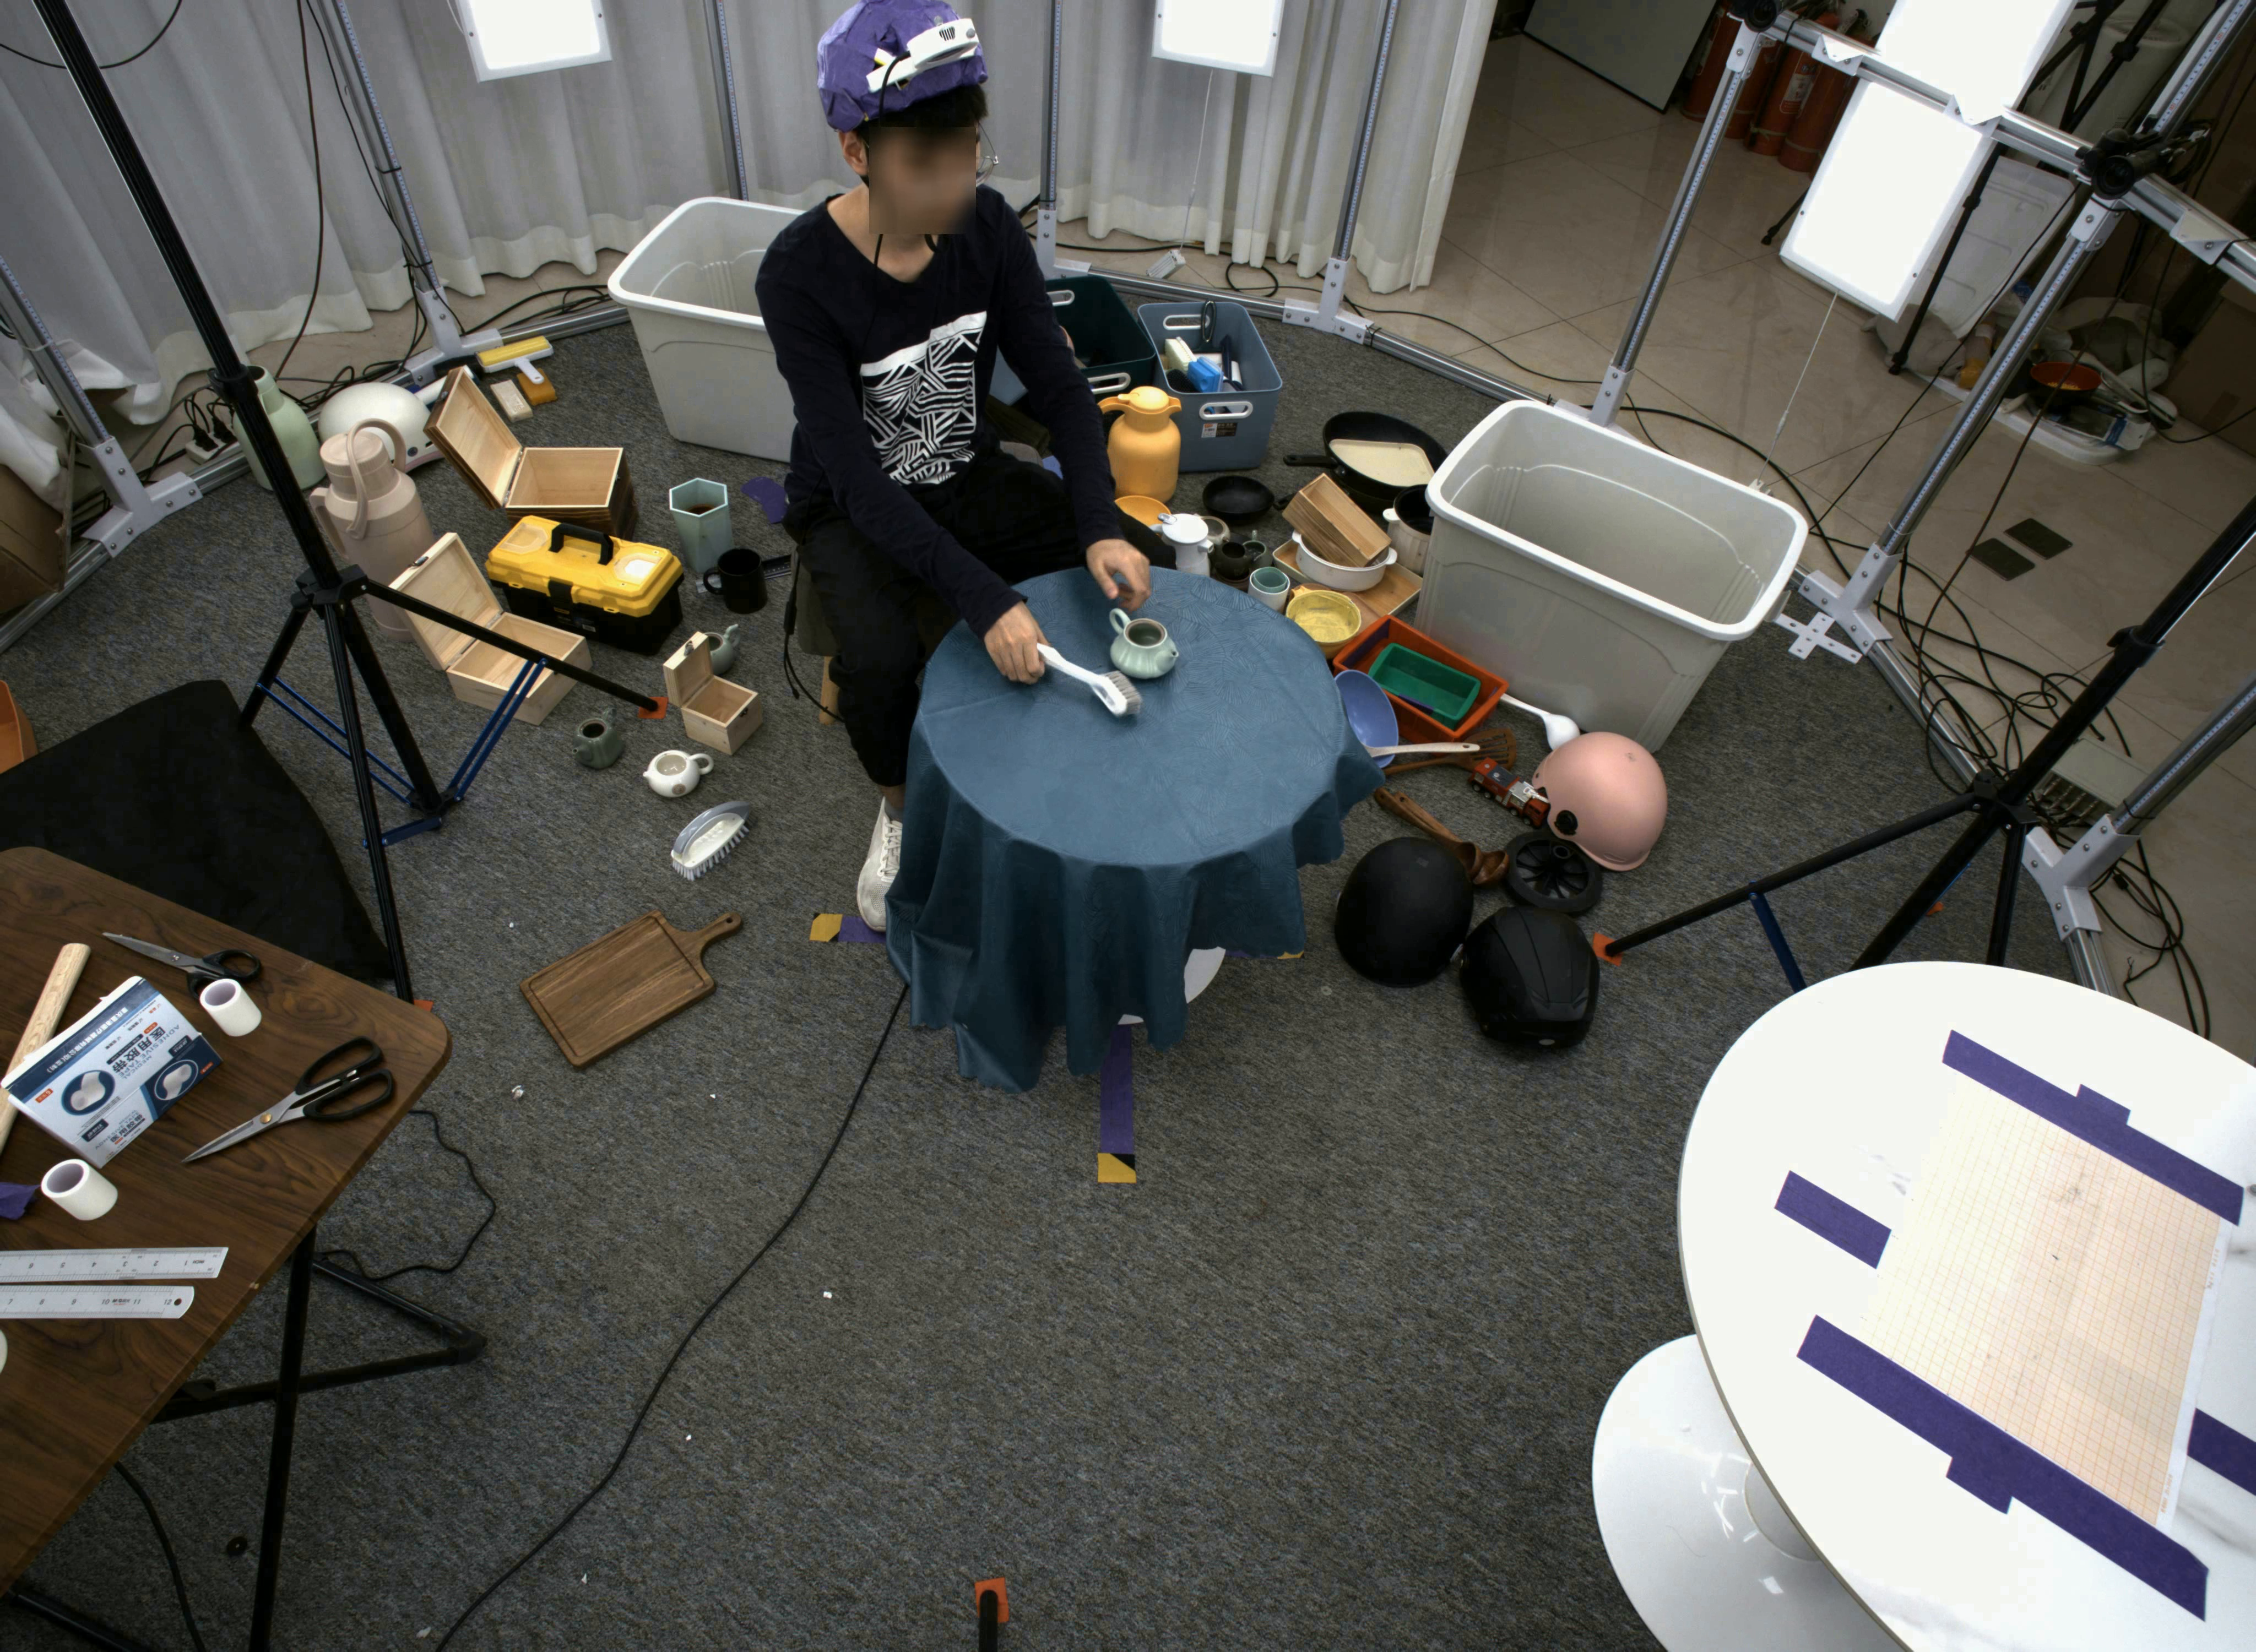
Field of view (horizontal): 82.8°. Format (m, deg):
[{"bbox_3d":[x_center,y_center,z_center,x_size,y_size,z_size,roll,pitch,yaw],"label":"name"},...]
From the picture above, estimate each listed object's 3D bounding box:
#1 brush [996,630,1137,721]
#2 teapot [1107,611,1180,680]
[{"bbox_3d":[-0.085,-0.227,1.823,0.247,0.033,0.051,35,65,23],"label":"brush"},{"bbox_3d":[0.020,-0.261,1.858,0.139,0.060,0.097,38,59,26],"label":"teapot"}]
